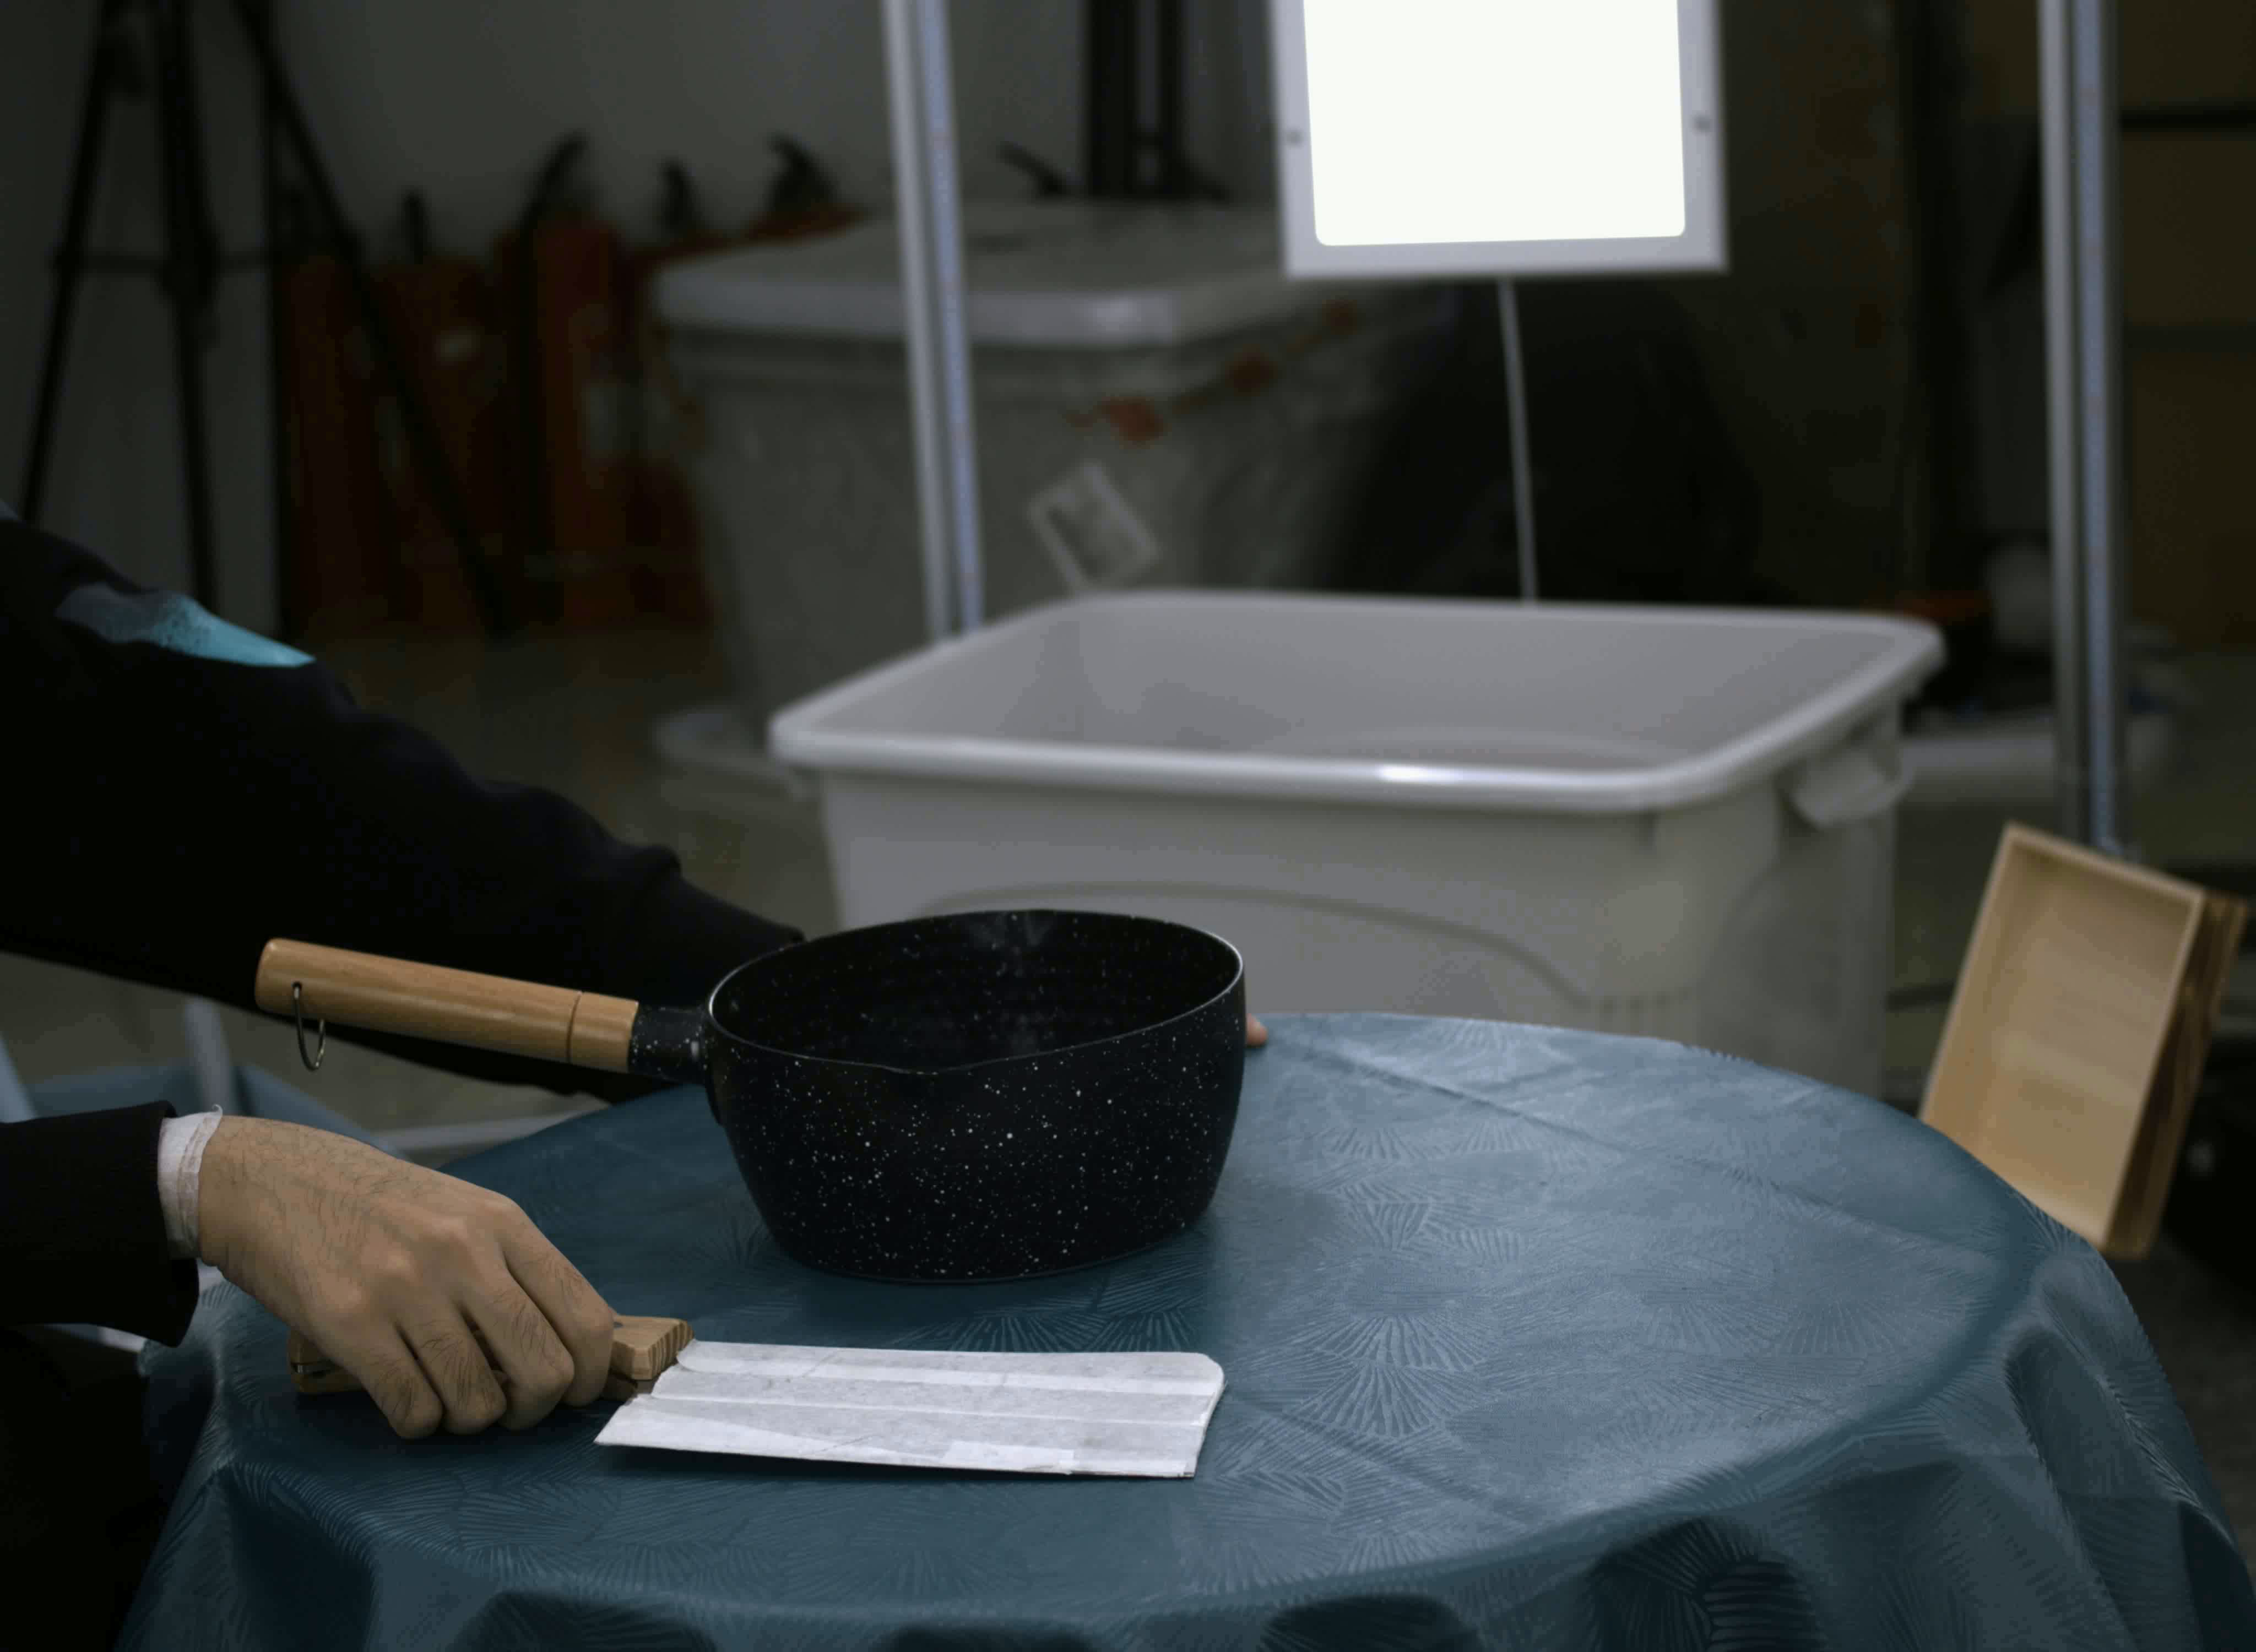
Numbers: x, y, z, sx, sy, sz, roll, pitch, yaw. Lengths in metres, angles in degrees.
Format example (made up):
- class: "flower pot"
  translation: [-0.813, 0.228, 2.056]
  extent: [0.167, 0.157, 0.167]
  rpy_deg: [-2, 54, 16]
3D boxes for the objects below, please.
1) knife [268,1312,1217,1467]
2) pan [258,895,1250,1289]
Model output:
- class: "knife"
  translation: [-0.120, 0.174, 1.711]
  extent: [0.319, 0.022, 0.112]
  rpy_deg: [2, 16, 18]
- class: "pan"
  translation: [-0.128, 0.085, 1.882]
  extent: [0.344, 0.108, 0.206]
  rpy_deg: [-2, 15, 7]
